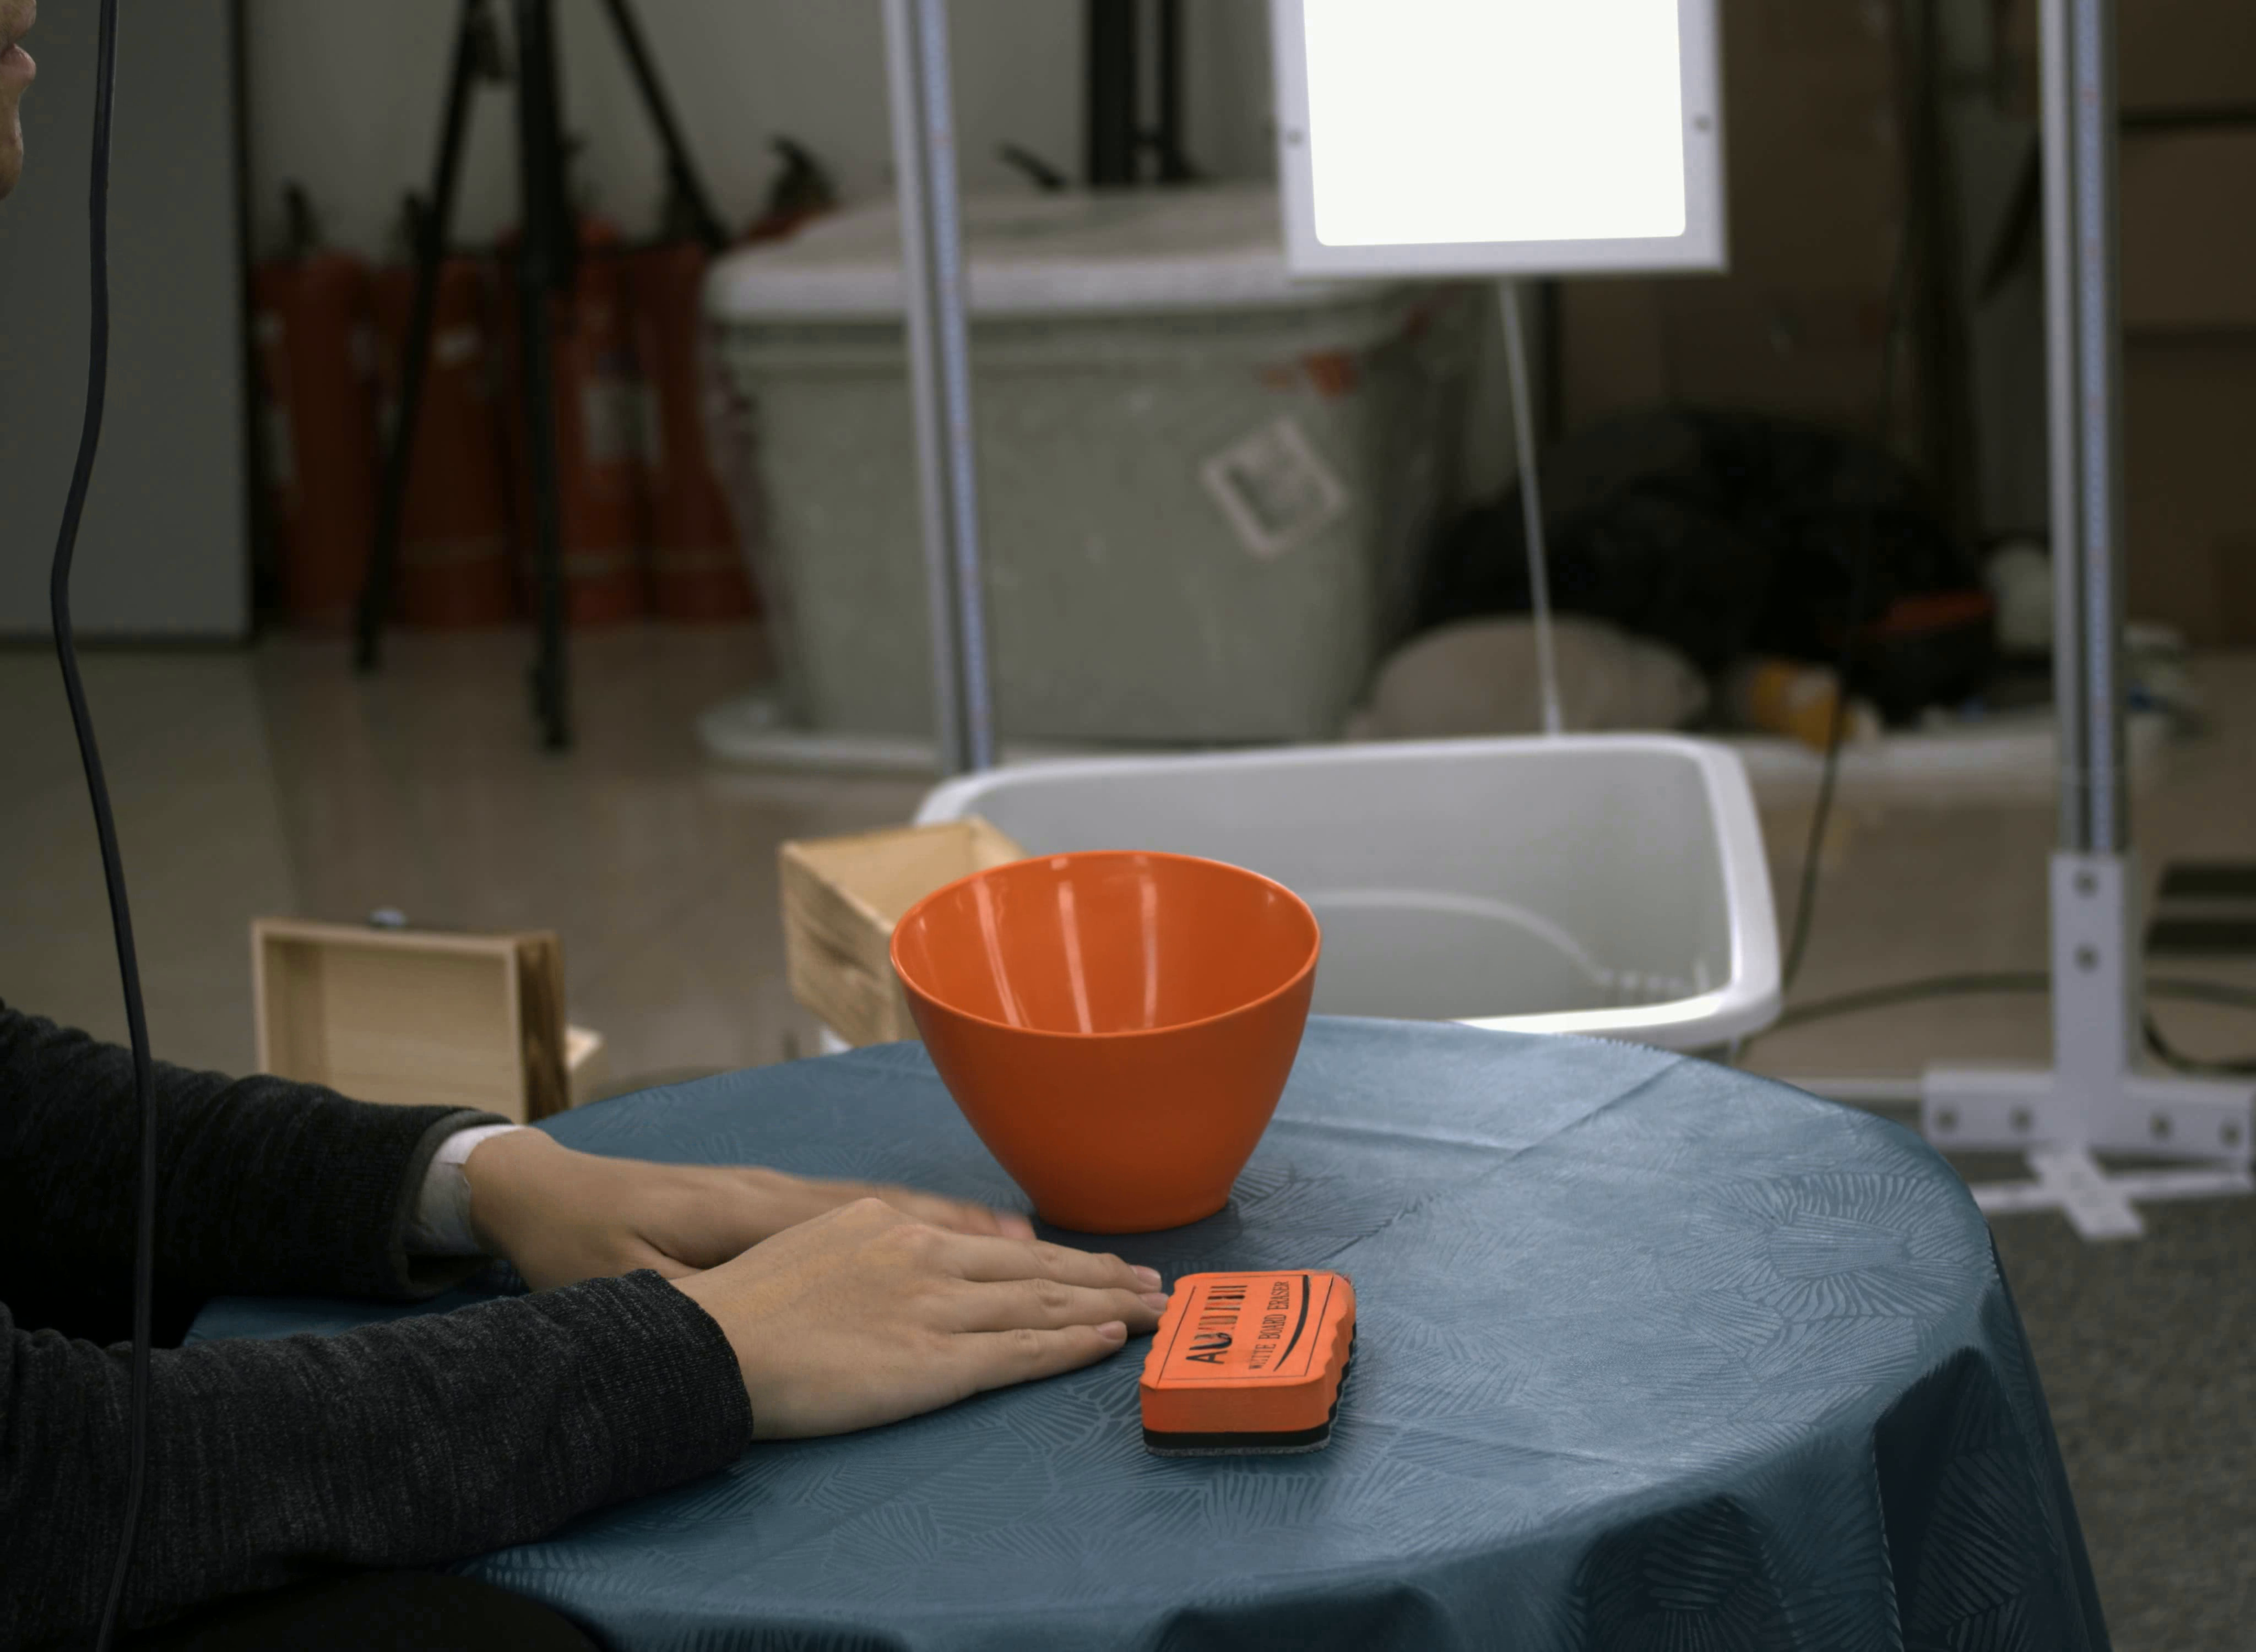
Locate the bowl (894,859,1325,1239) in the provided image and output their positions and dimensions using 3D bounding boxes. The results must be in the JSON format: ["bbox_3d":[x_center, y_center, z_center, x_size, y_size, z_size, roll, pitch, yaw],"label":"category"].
[{"bbox_3d":[-0.003,0.079,1.882,0.147,0.105,0.148,-4,14,0],"label":"bowl"}]

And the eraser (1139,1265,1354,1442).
[{"bbox_3d":[0.038,0.160,1.684,0.059,0.023,0.107,-1,13,8],"label":"eraser"}]
